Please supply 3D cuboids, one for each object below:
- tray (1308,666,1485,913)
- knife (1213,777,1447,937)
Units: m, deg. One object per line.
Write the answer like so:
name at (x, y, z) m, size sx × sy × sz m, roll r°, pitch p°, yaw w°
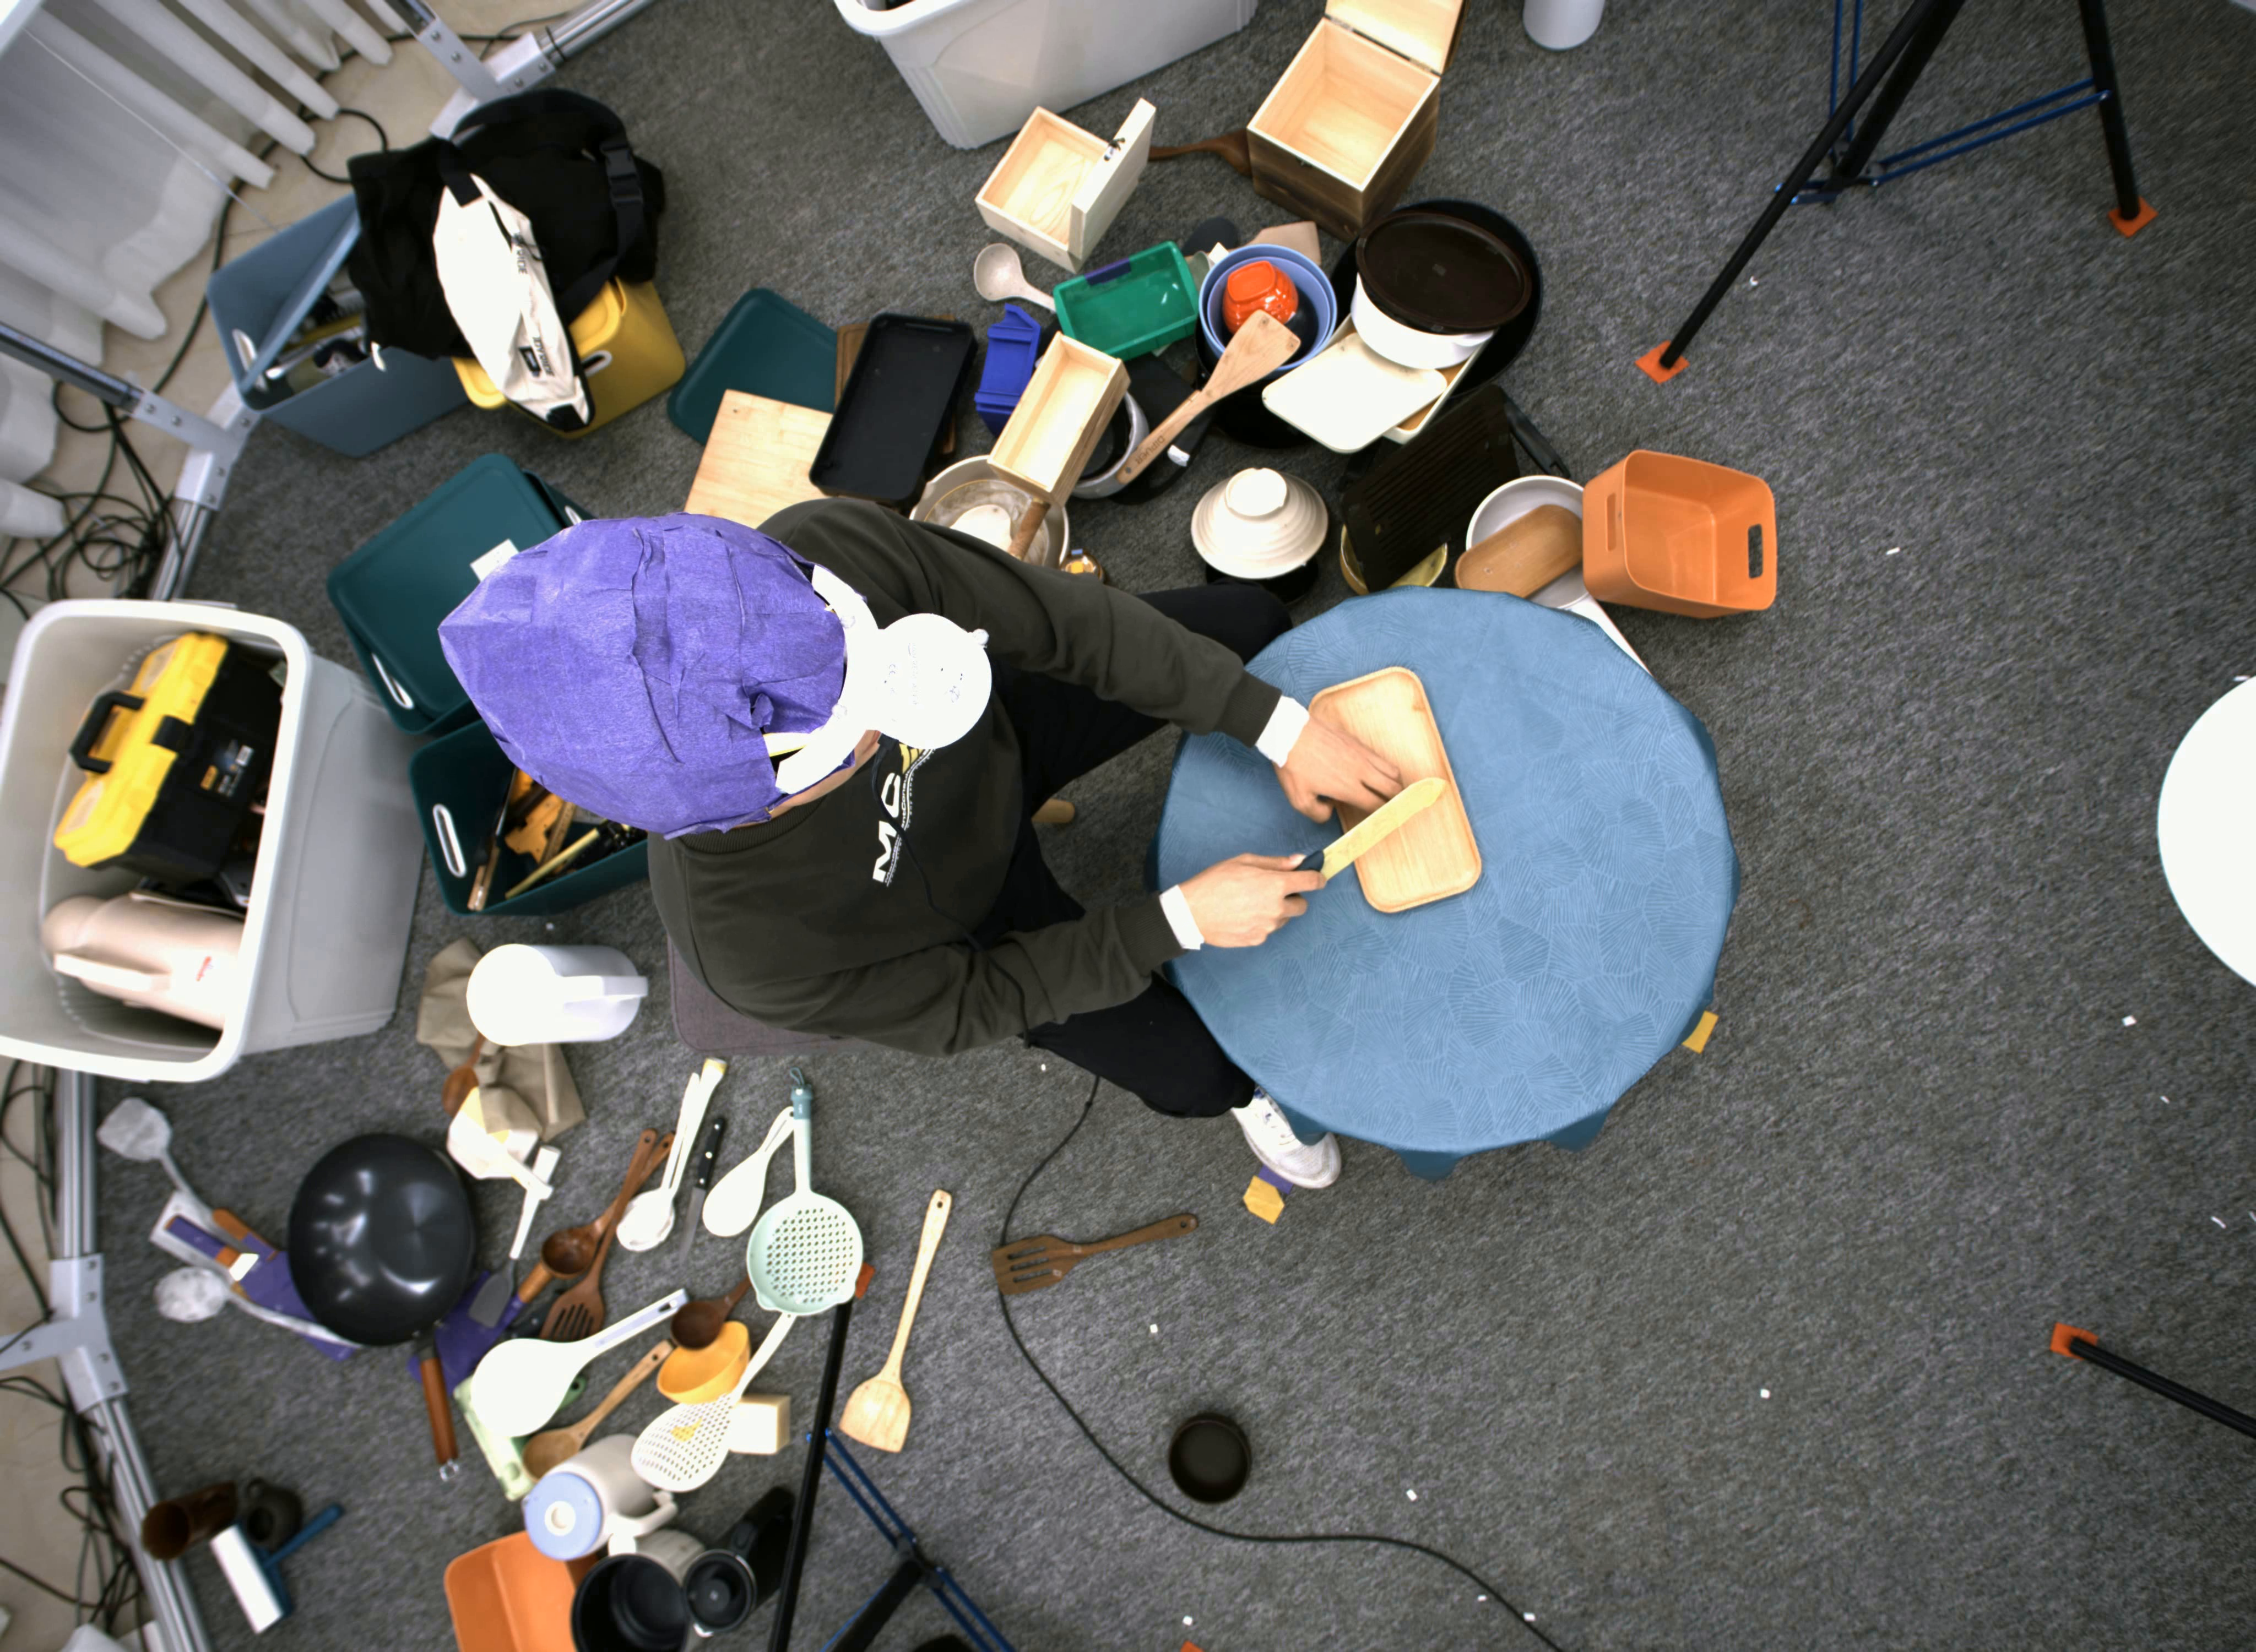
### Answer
tray at (0.284, -0.040, 1.460) m, size 0.131 × 0.023 × 0.250 m, roll -18°, pitch 87°, yaw 12°
knife at (0.211, 0.030, 1.418) m, size 0.289 × 0.082 × 0.027 m, roll -33°, pitch 61°, yaw -2°
